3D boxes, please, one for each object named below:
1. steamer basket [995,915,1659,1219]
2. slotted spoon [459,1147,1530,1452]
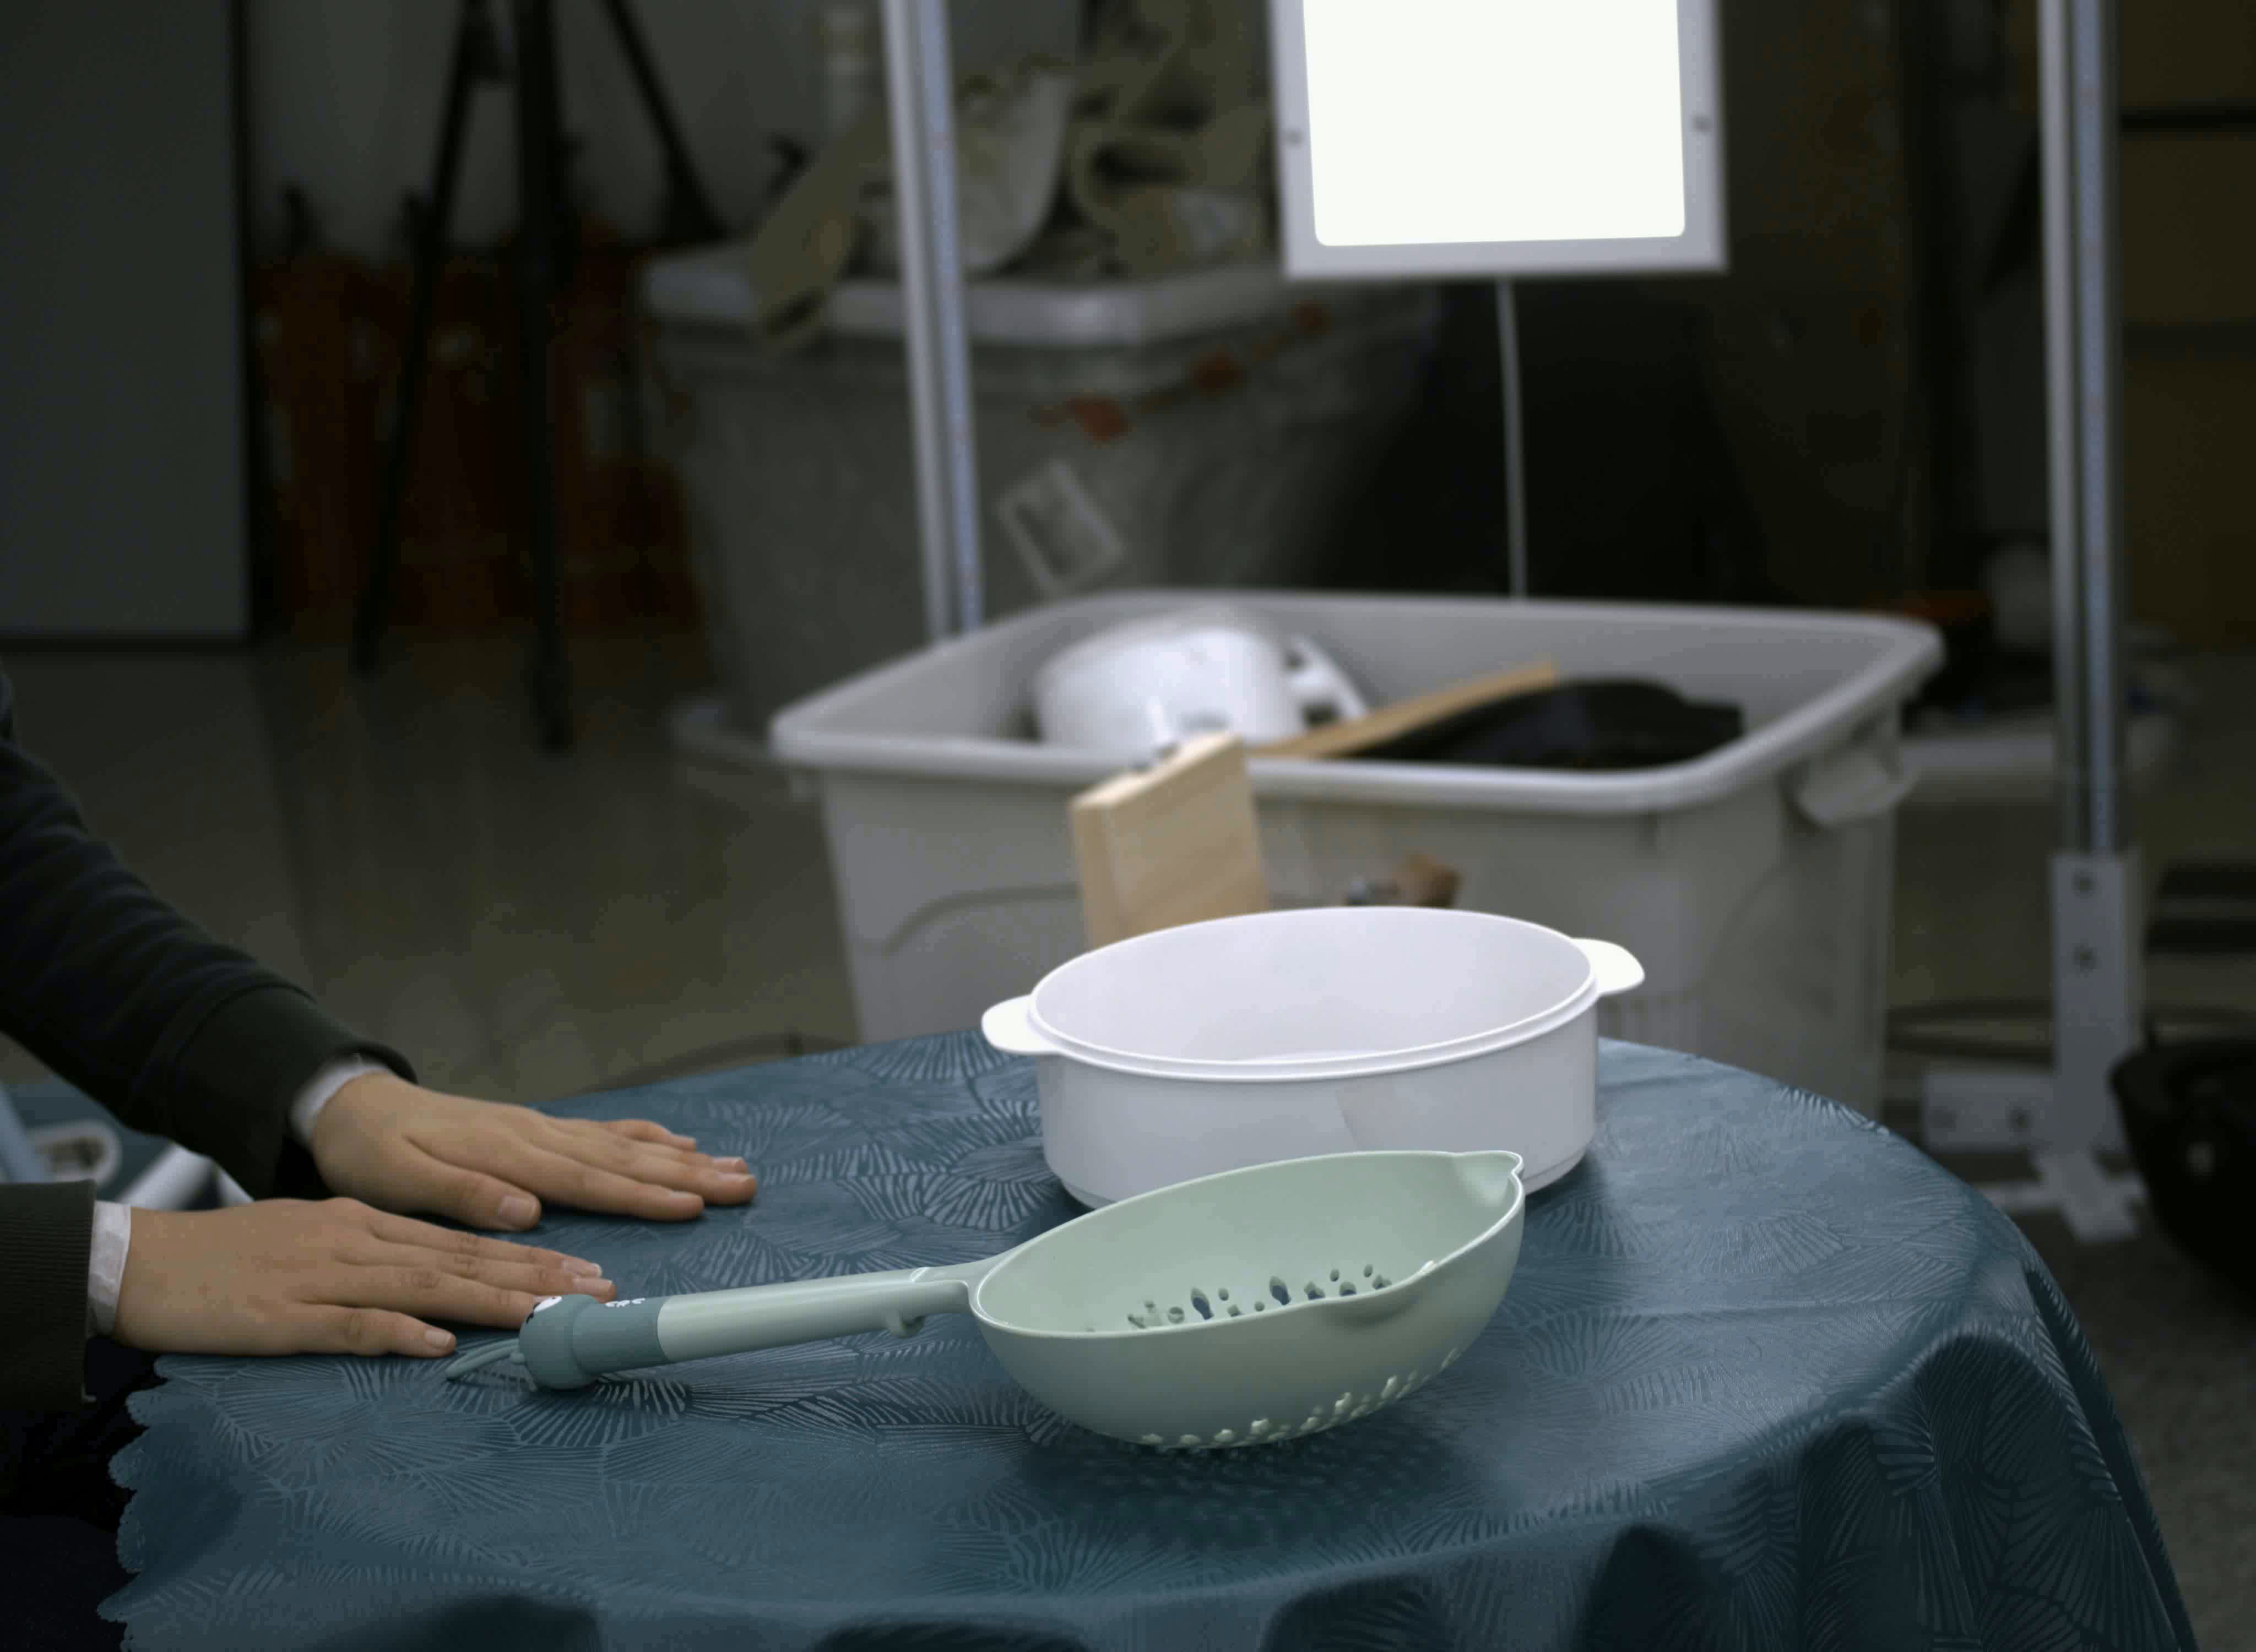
[{"bbox_3d":[0.071,0.087,1.900,0.229,0.069,0.202,-6,13,-6],"label":"steamer basket"},{"bbox_3d":[-0.050,0.147,1.693,0.364,0.075,0.166,1,14,23],"label":"slotted spoon"}]
